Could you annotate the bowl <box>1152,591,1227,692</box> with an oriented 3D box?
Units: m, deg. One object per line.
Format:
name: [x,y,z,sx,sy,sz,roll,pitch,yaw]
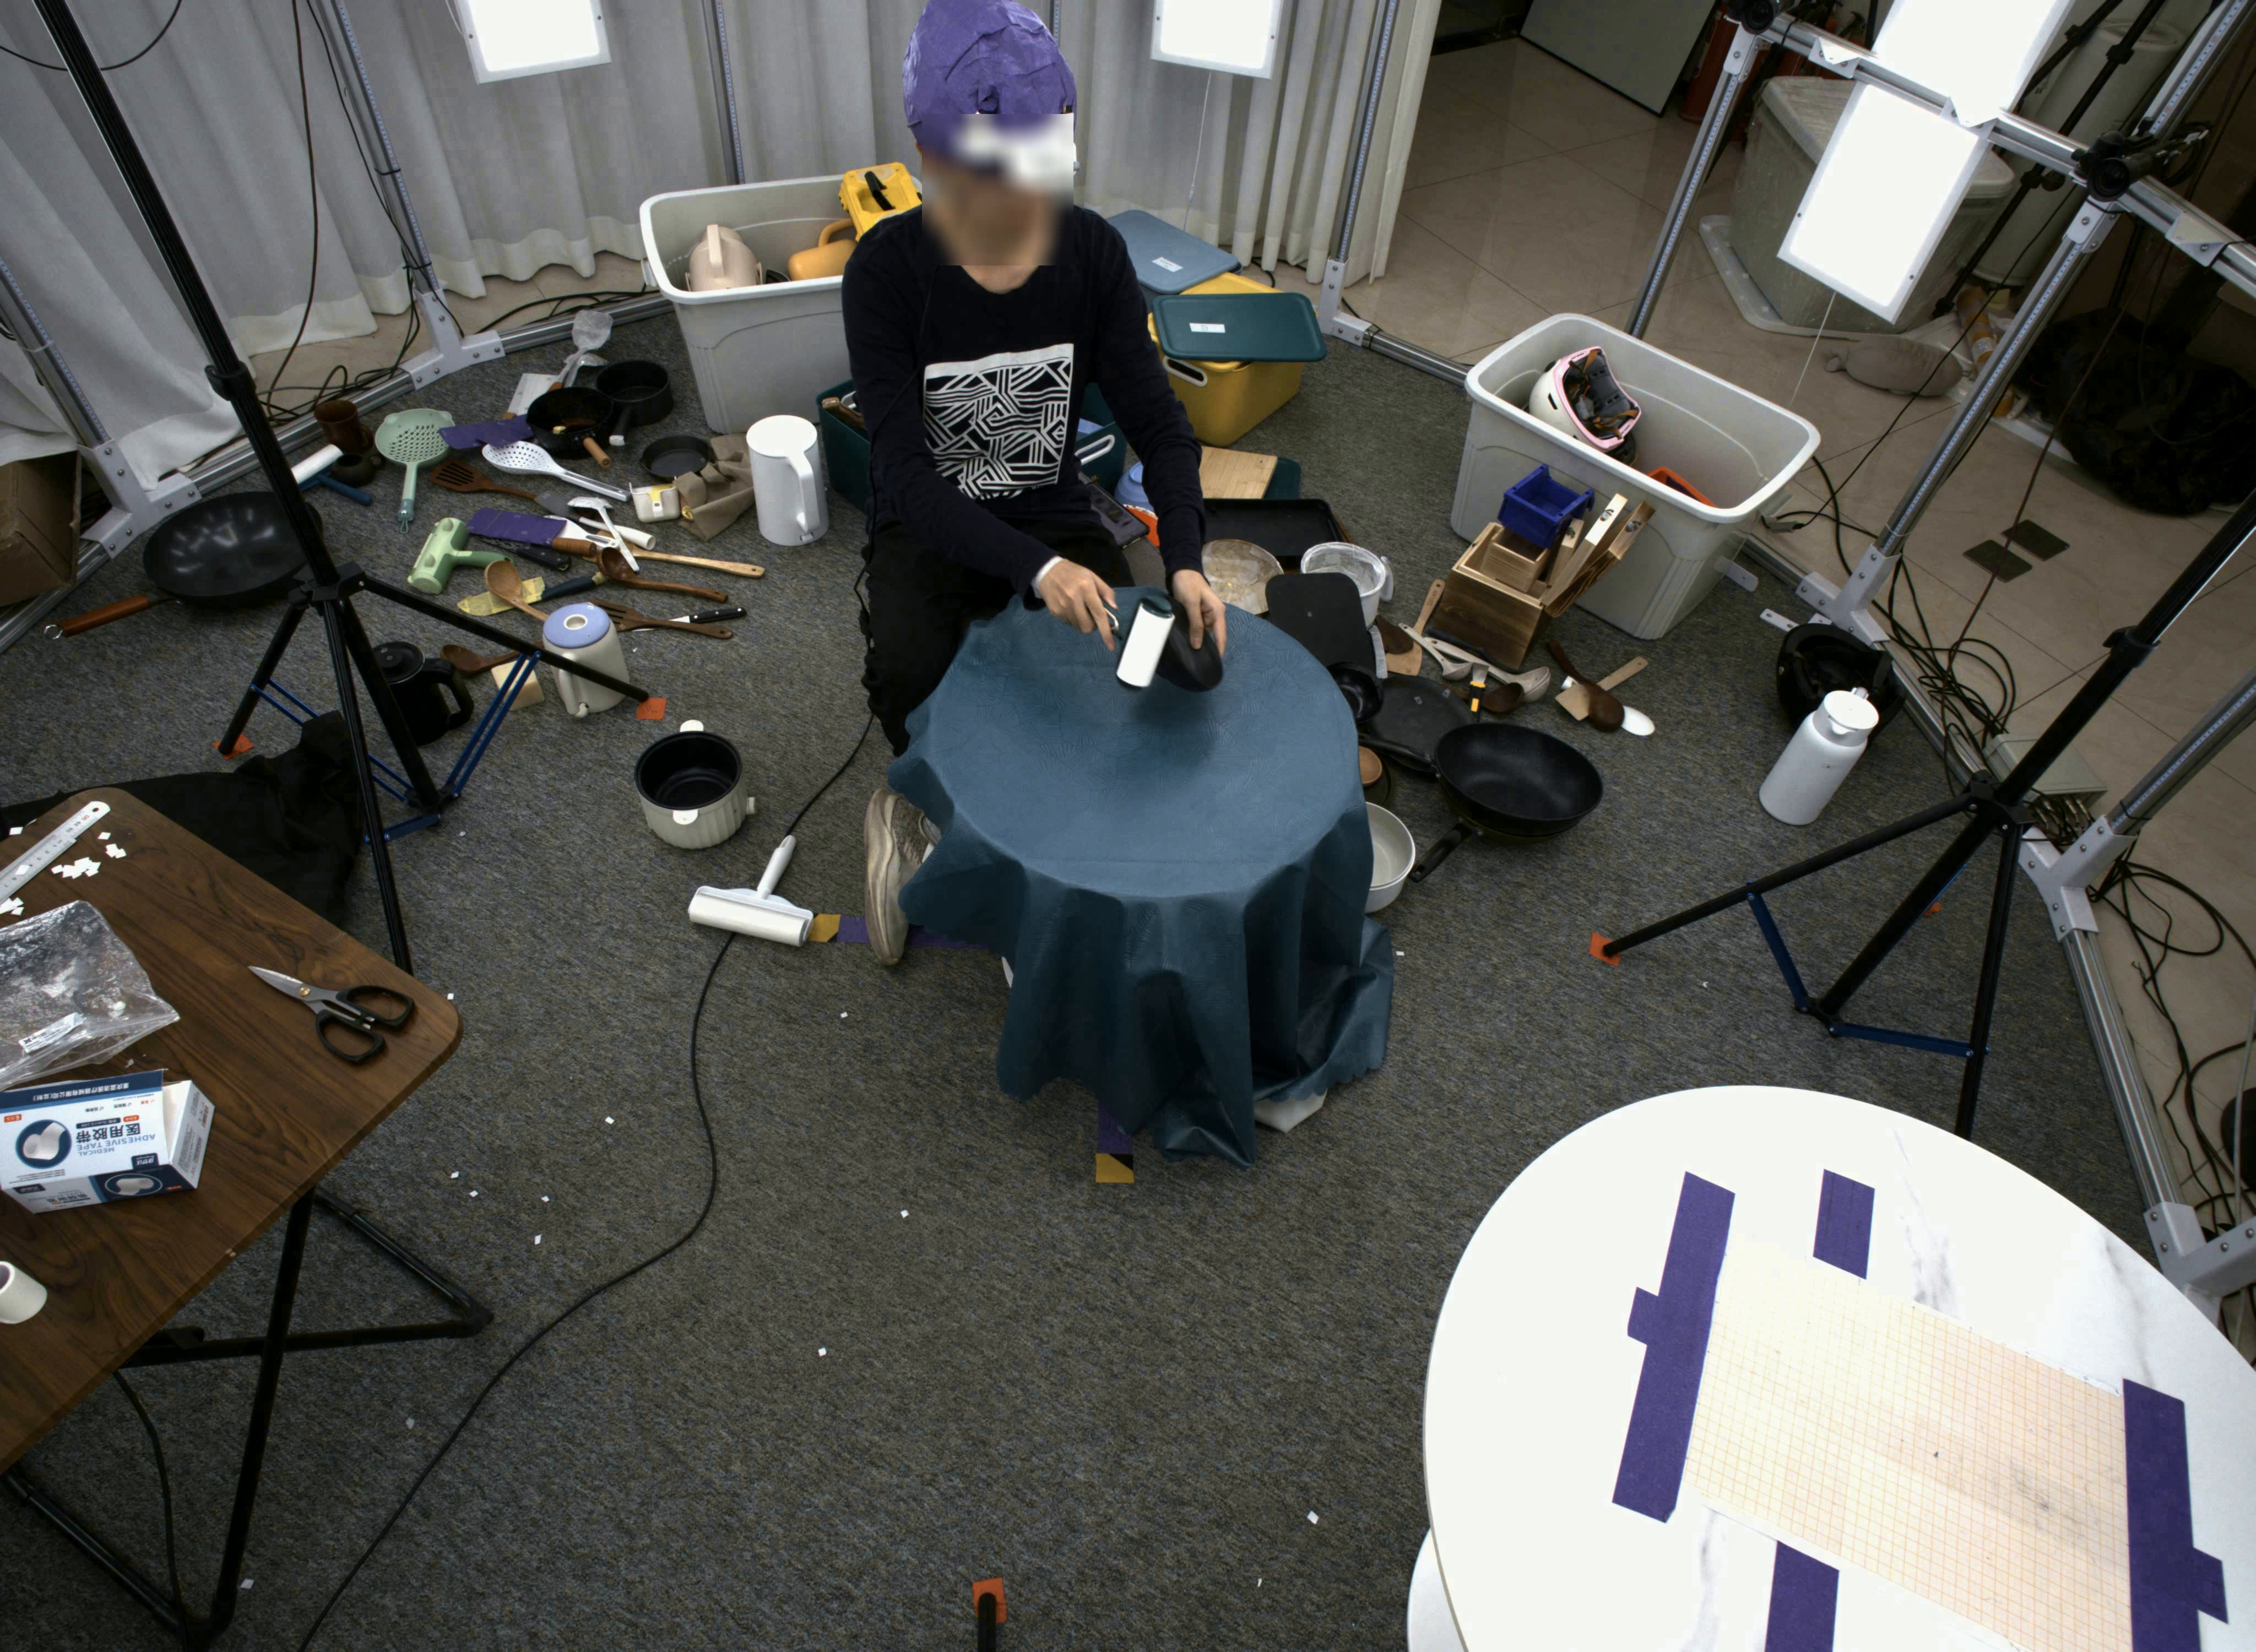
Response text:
bowl: [0.064,-0.247,1.765,0.135,0.066,0.174,20,42,-50]

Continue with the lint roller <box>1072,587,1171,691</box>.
lint roller: [-0.027,-0.275,1.726,0.183,0.132,0.048,37,30,31]
